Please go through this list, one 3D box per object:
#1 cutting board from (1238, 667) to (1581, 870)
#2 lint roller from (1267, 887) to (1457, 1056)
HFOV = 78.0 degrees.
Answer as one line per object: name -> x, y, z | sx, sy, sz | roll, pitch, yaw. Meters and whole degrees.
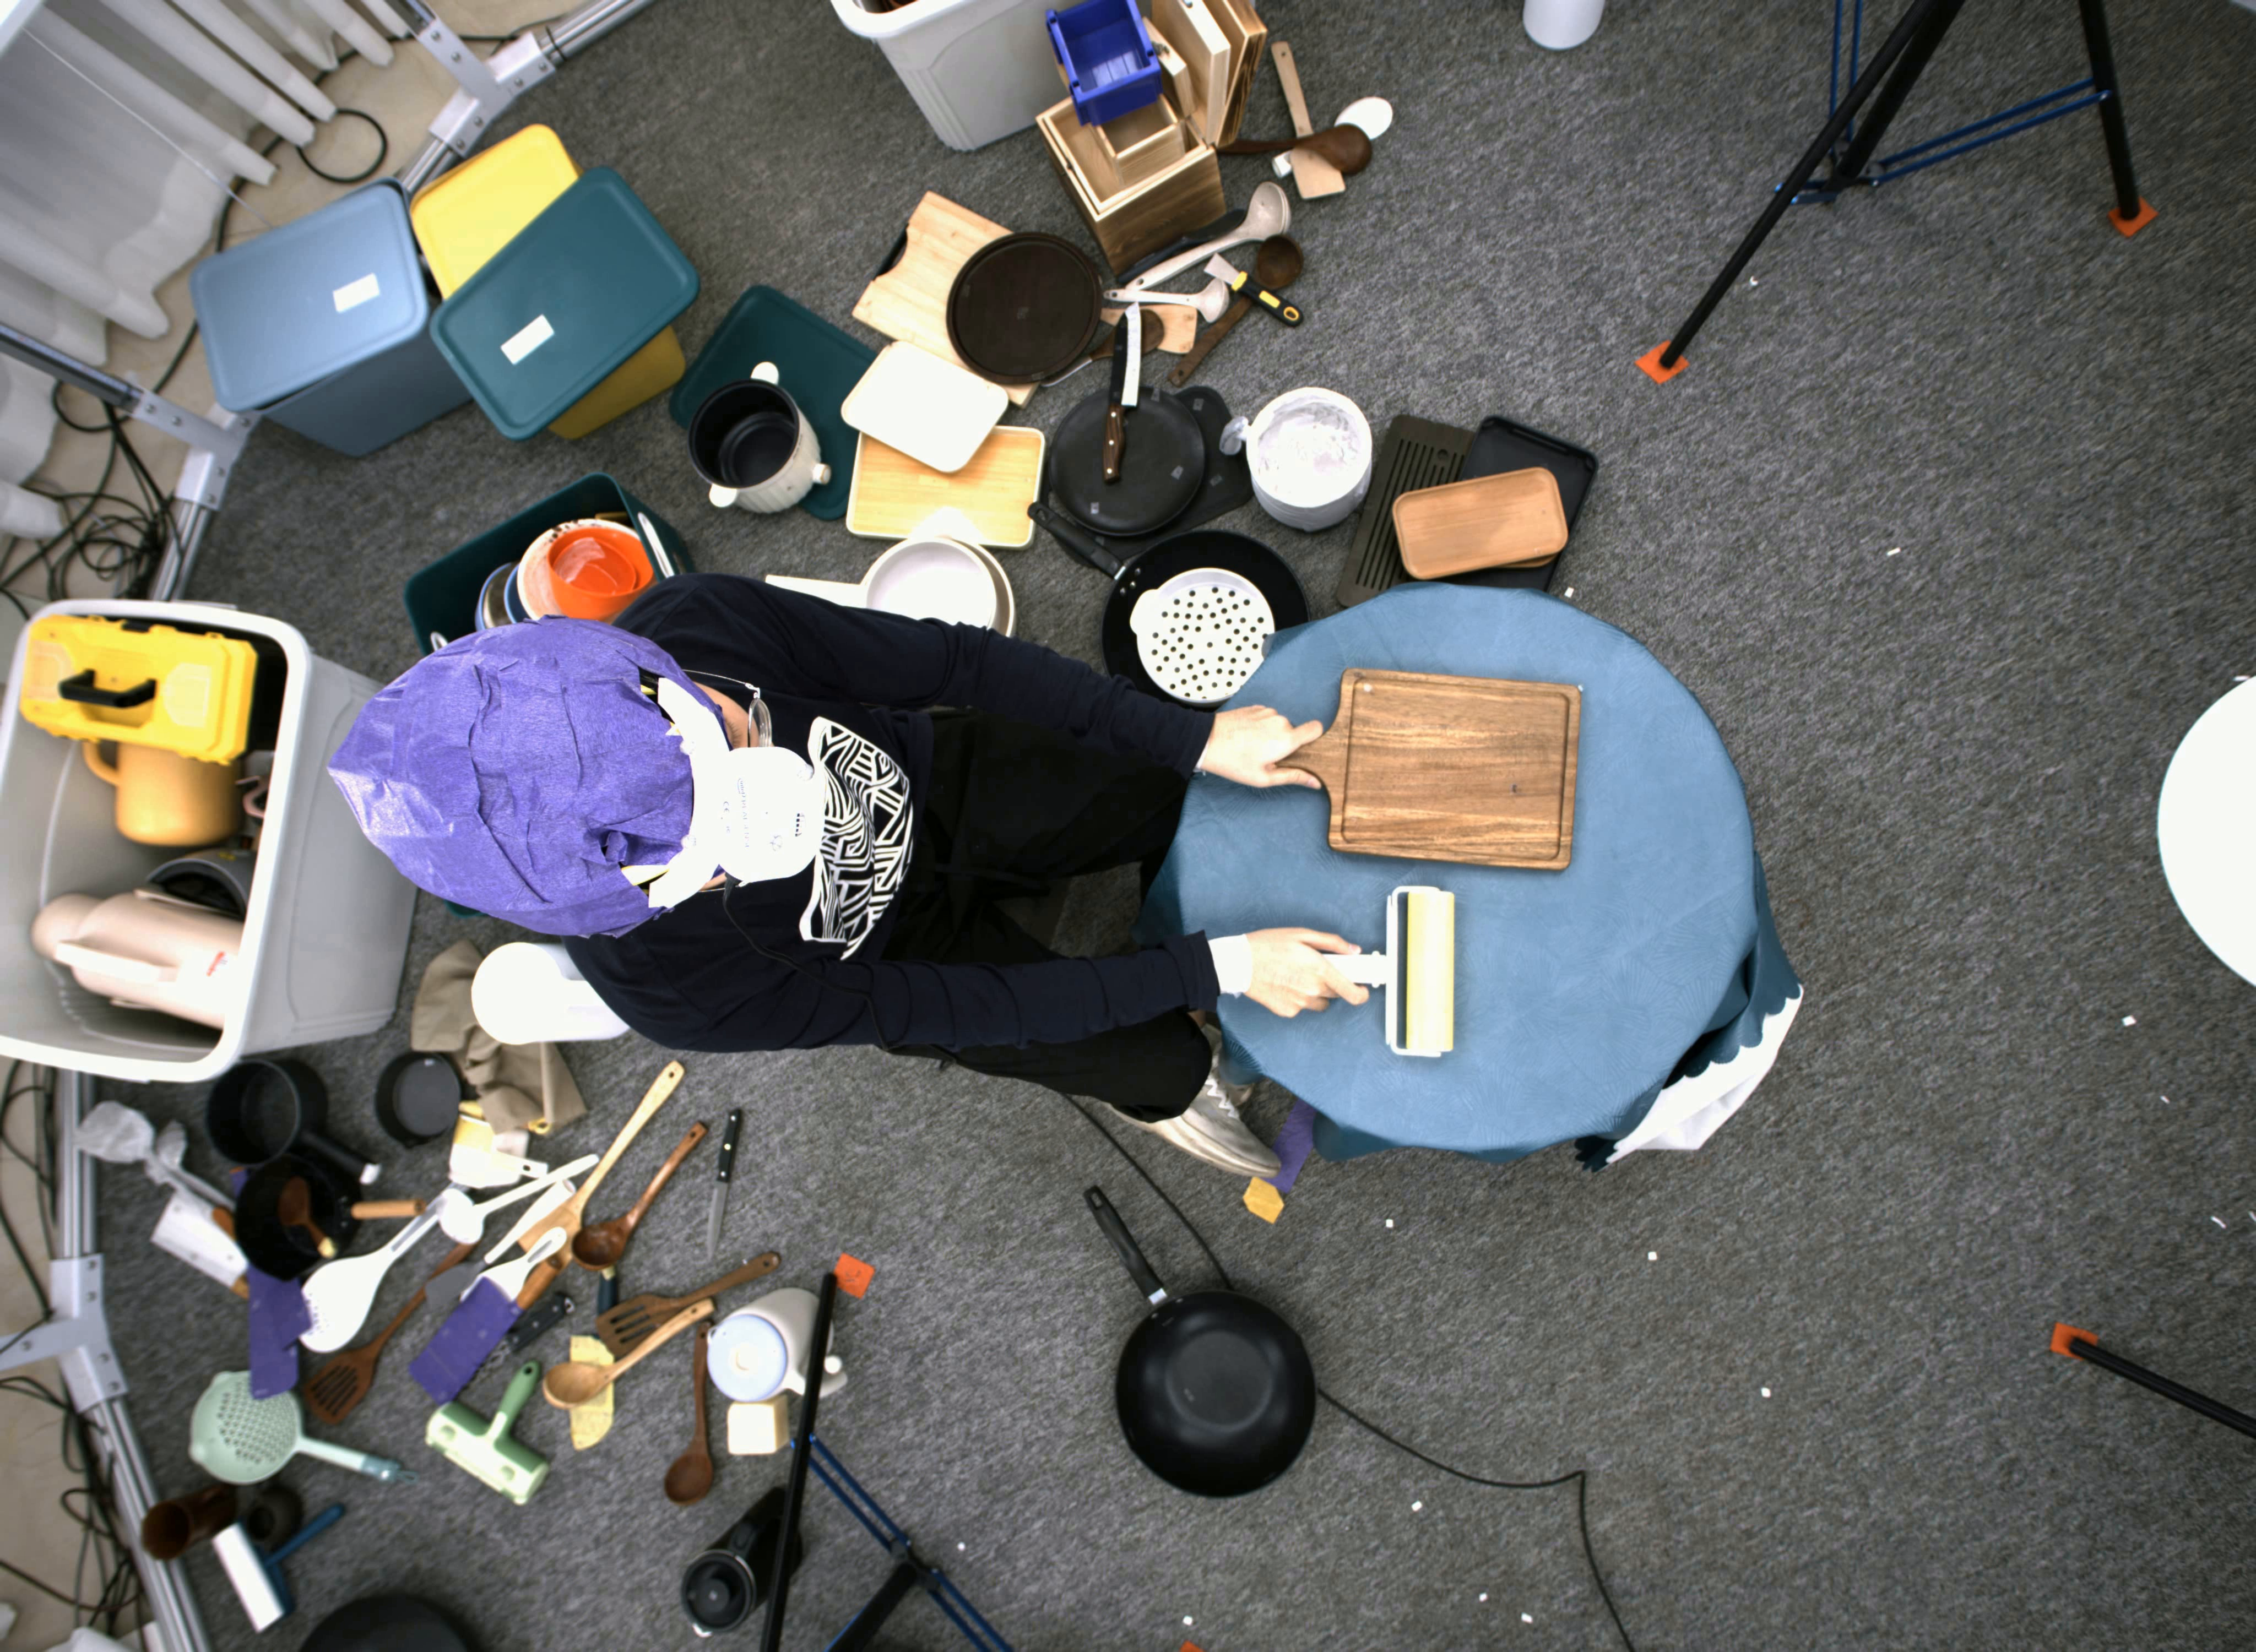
cutting board -> 0.291, -0.067, 1.439 | 0.353, 0.023, 0.200 | 5, 87, 7
lint roller -> 0.241, 0.148, 1.422 | 0.192, 0.051, 0.173 | 0, 86, -4
